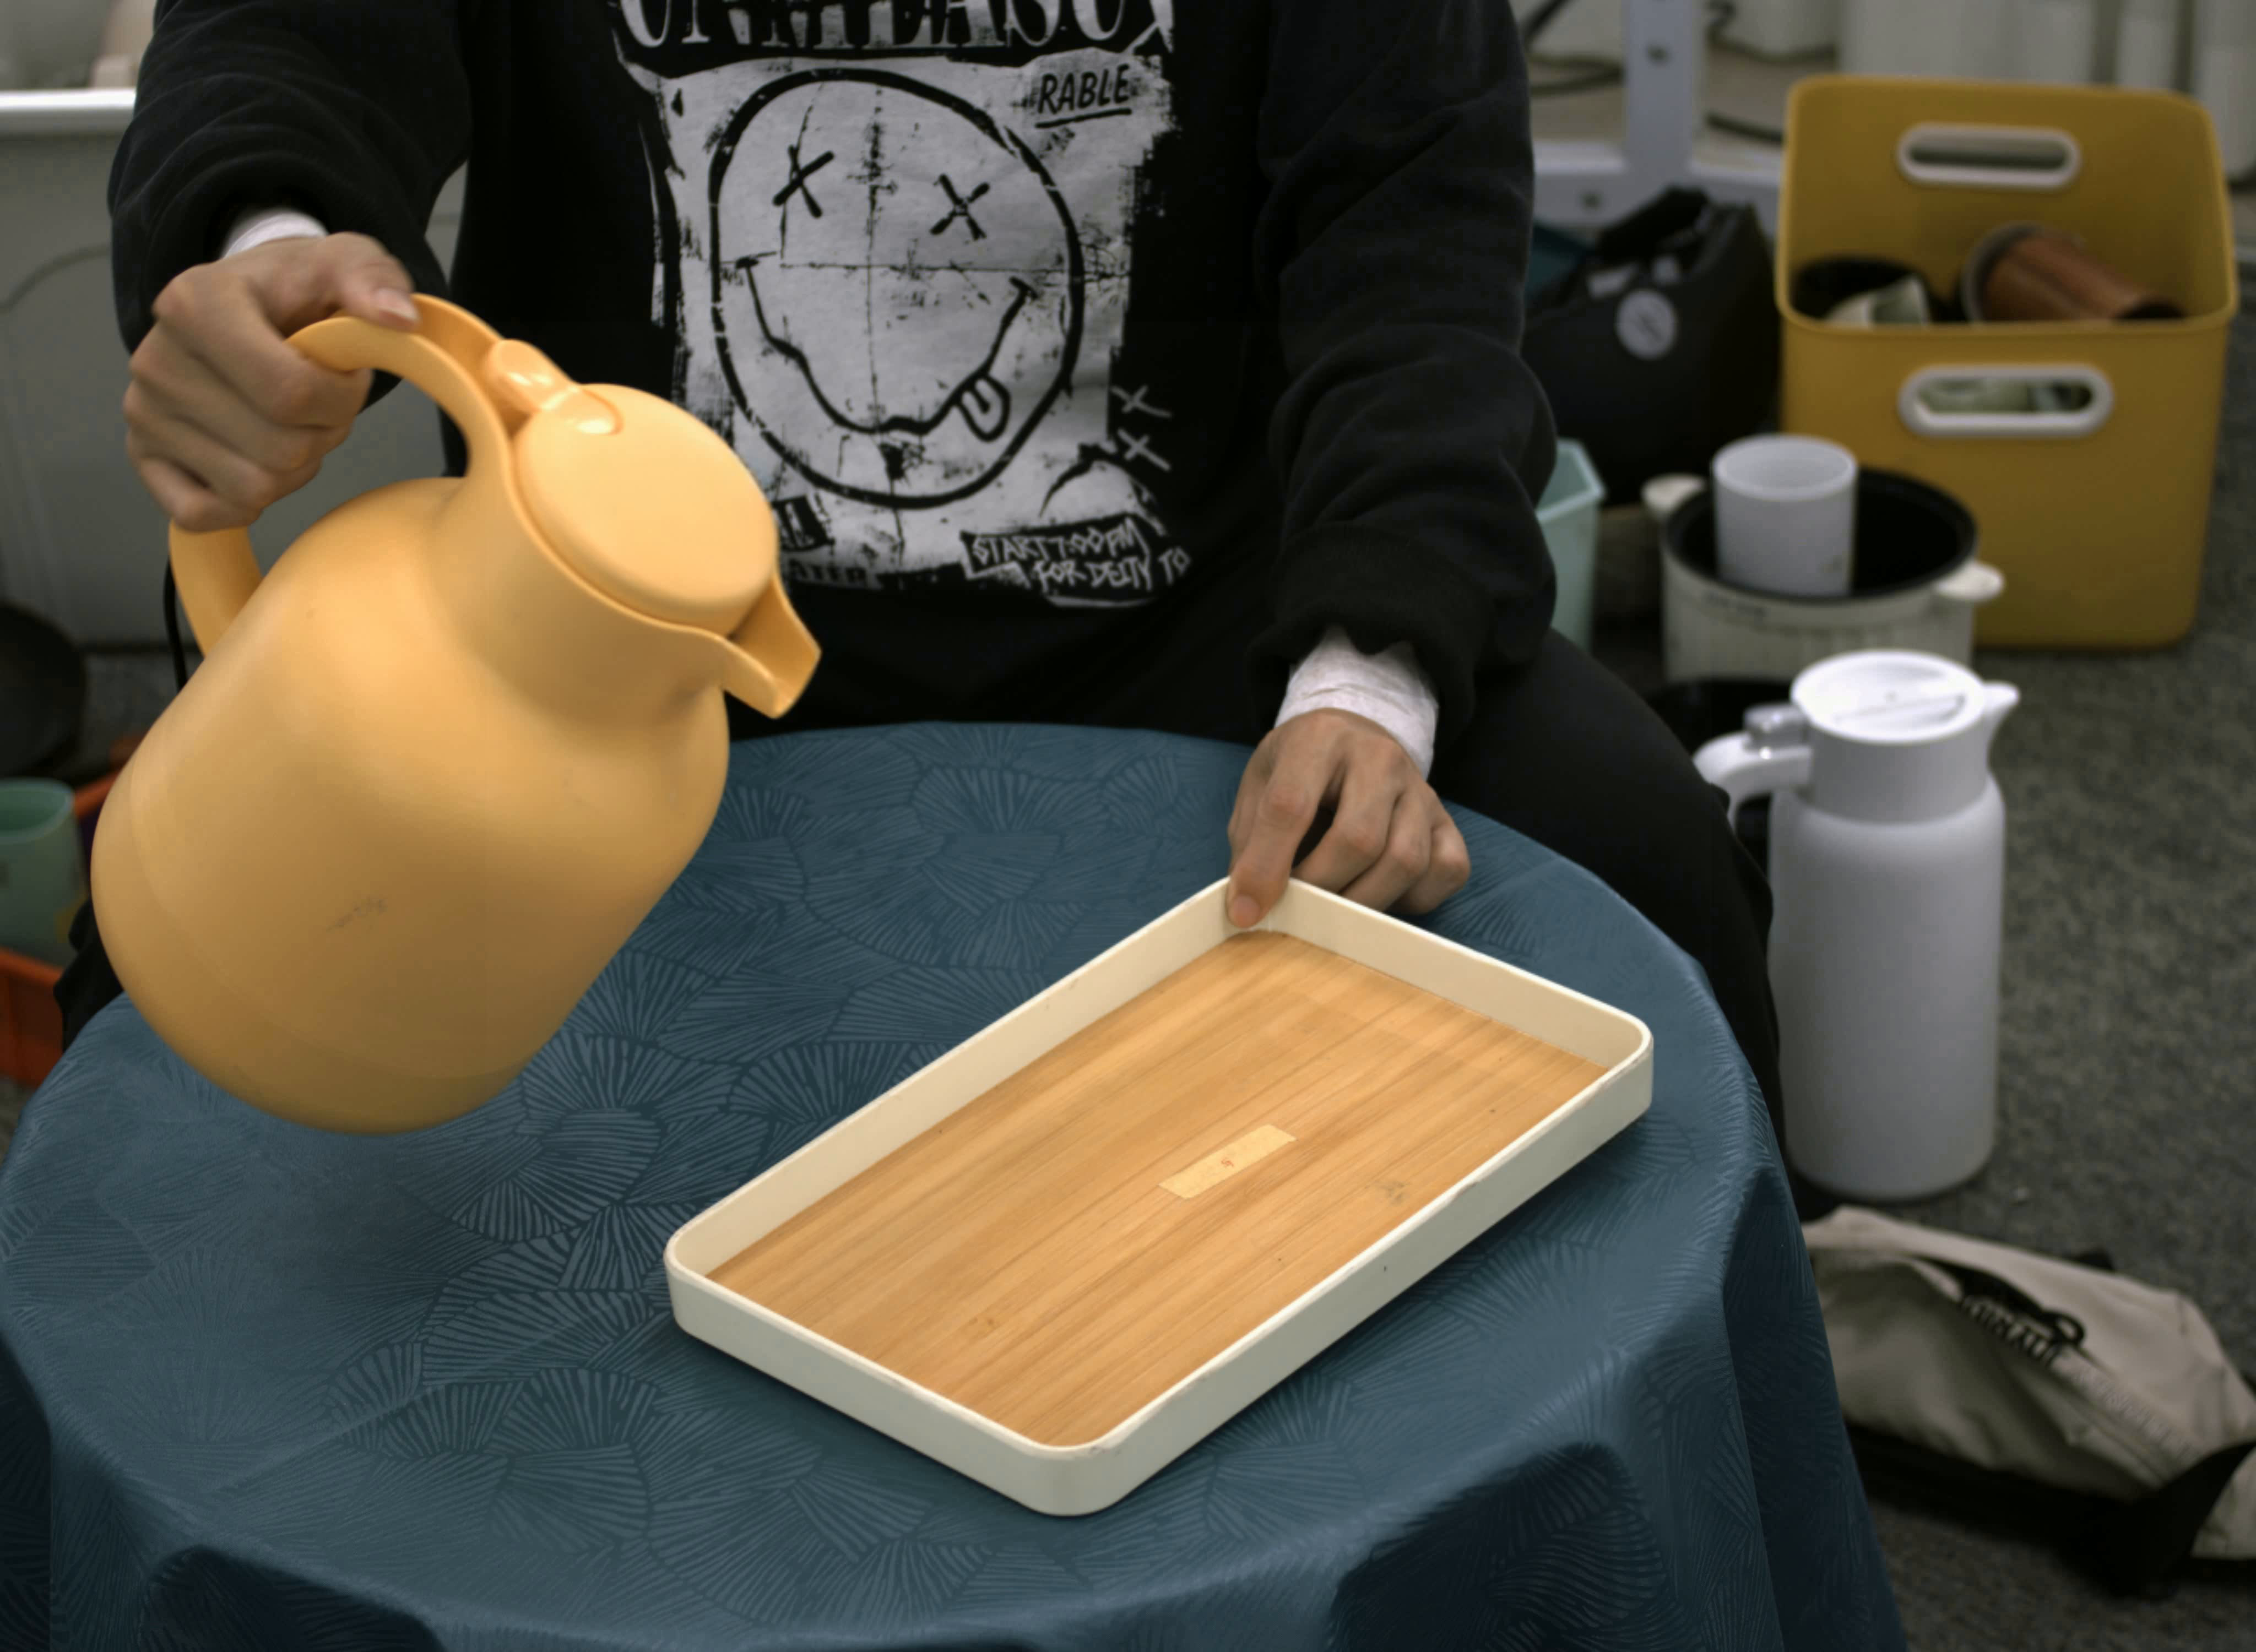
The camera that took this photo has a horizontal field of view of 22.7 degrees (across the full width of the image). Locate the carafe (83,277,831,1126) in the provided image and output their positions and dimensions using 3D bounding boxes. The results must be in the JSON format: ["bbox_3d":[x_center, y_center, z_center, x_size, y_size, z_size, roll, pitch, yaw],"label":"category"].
[{"bbox_3d":[-0.221,-0.046,1.780,0.203,0.256,0.166,47,32,4],"label":"carafe"}]

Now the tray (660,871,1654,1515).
[{"bbox_3d":[0.013,0.113,1.830,0.191,0.027,0.304,22,38,37],"label":"tray"}]
